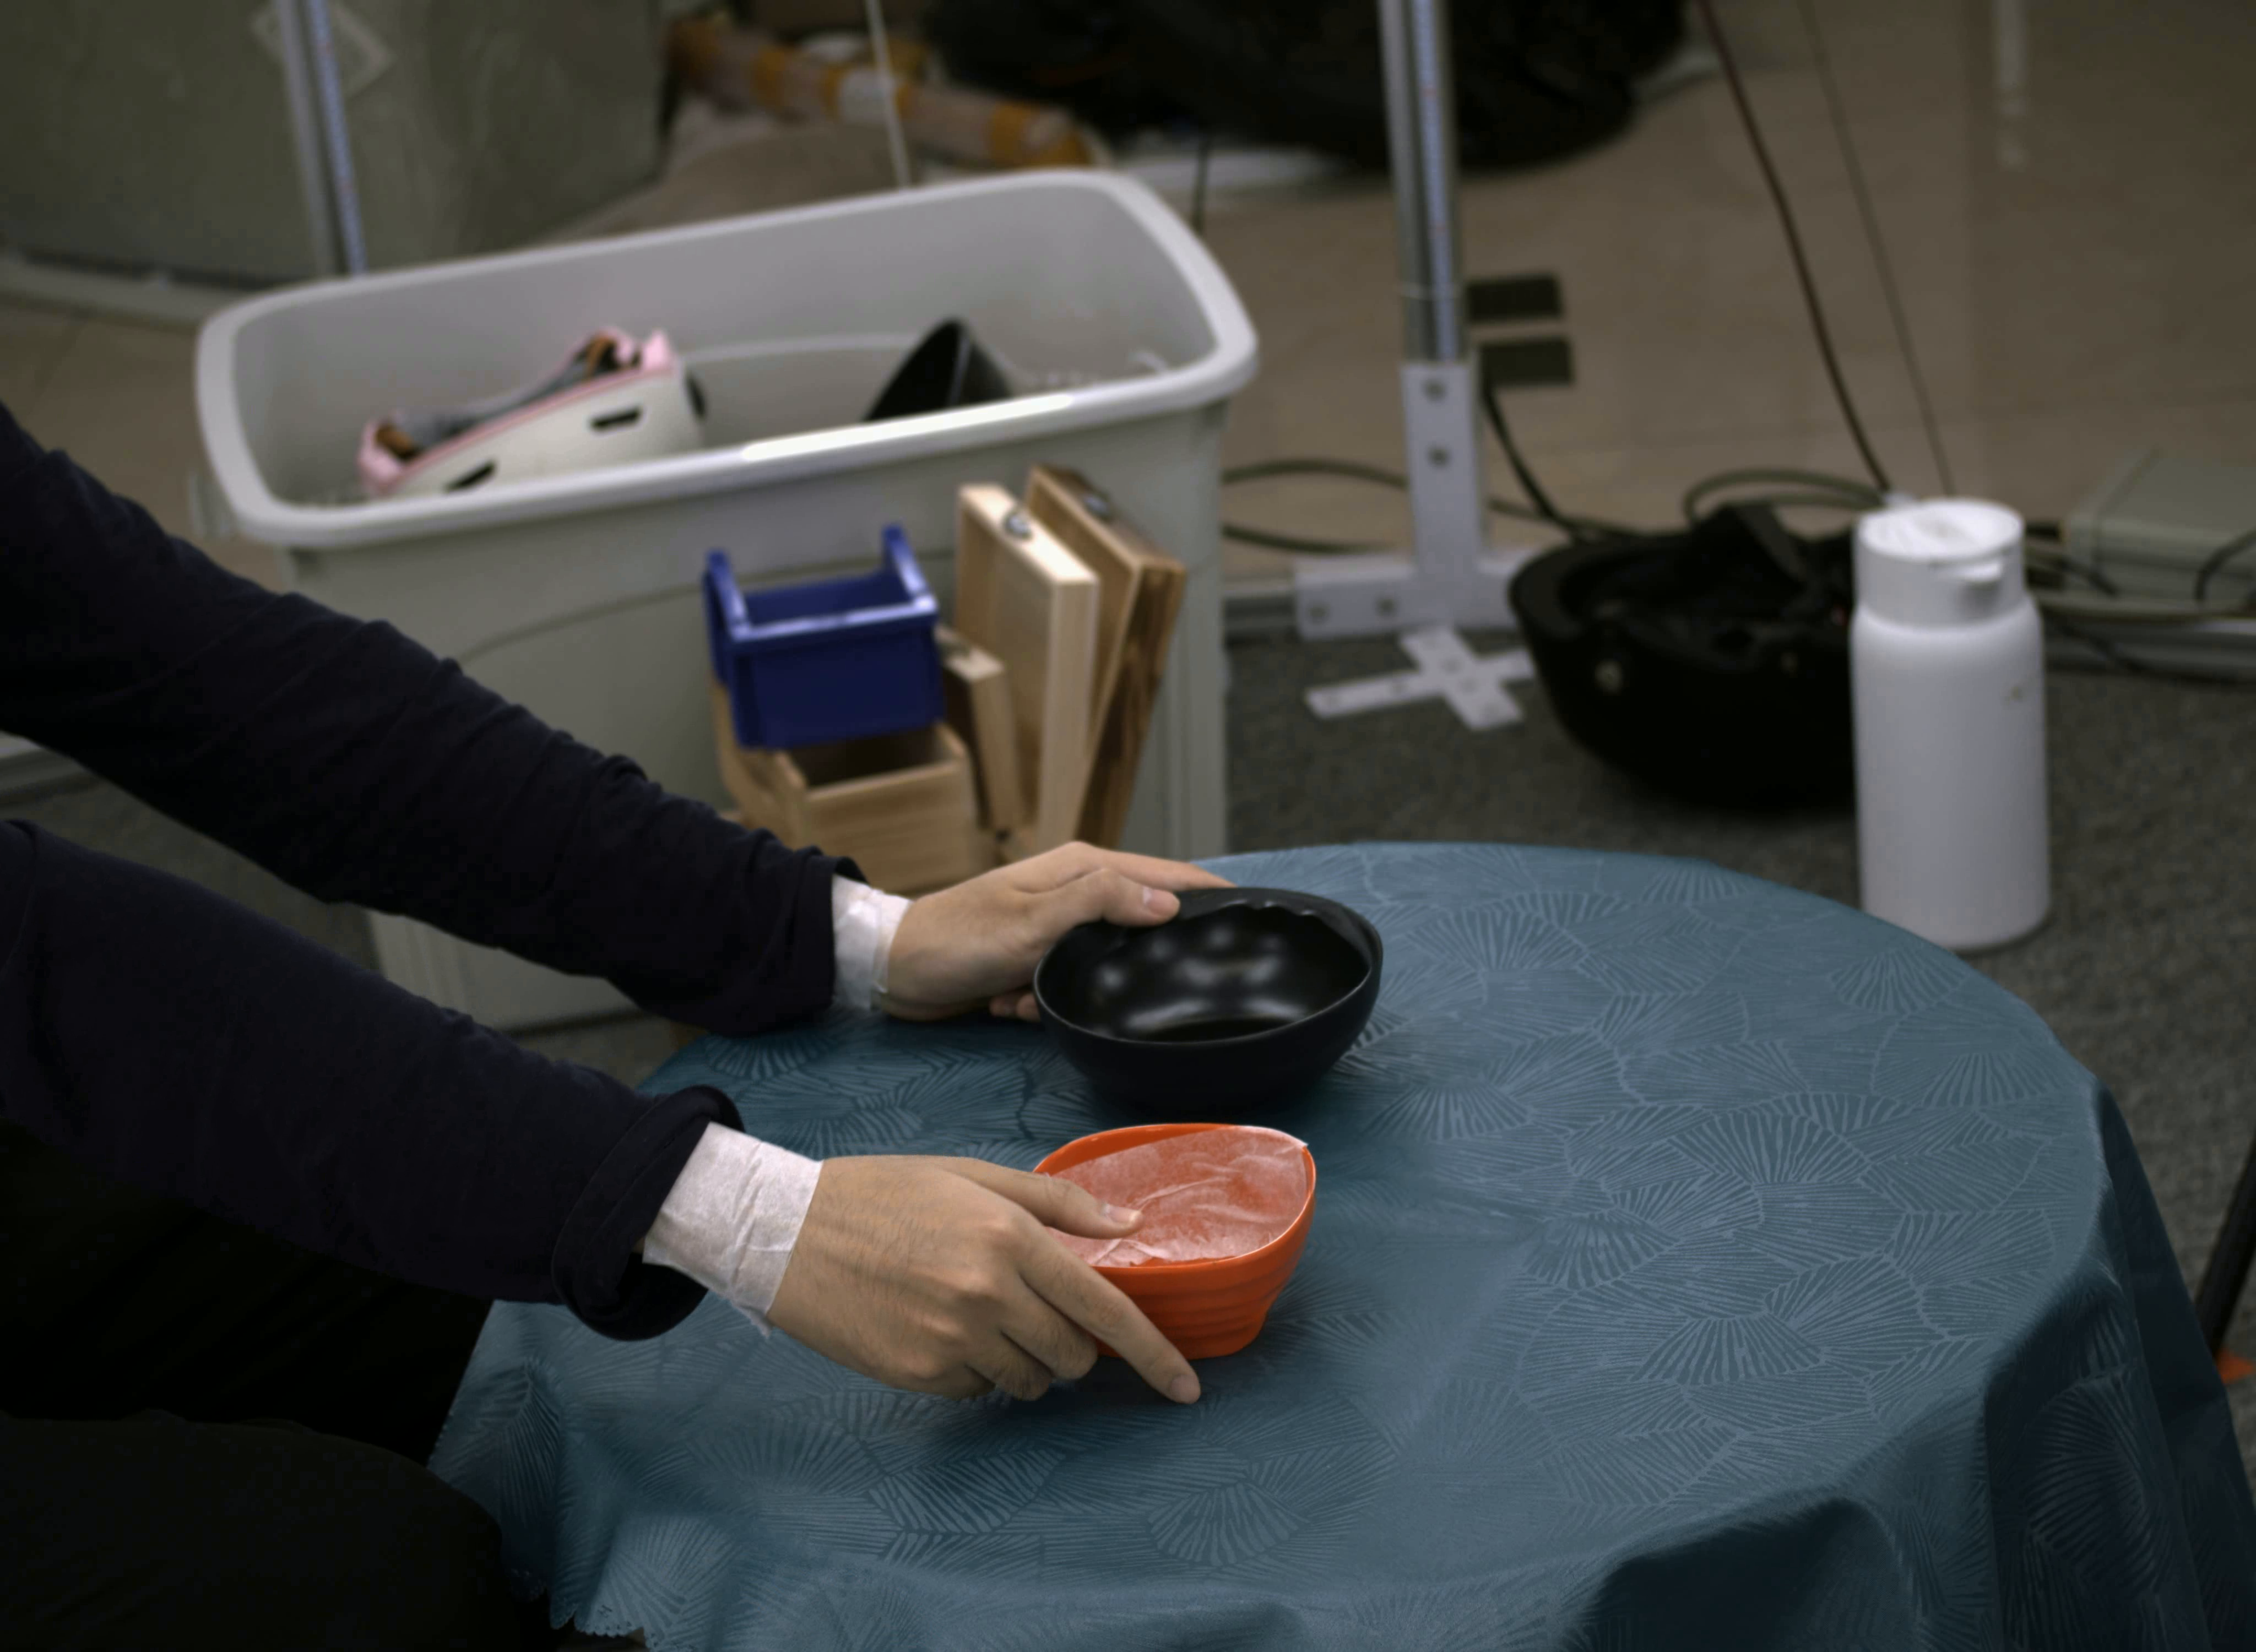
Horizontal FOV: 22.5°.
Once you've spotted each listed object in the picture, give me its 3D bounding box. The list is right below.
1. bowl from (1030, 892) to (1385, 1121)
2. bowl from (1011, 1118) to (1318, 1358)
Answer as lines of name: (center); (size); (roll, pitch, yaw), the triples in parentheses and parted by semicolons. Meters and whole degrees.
bowl: (0.034, 0.078, 2.223); (0.140, 0.050, 0.138); (-9, 24, 4)
bowl: (0.015, 0.153, 2.053); (0.119, 0.052, 0.117); (-4, 26, 2)
